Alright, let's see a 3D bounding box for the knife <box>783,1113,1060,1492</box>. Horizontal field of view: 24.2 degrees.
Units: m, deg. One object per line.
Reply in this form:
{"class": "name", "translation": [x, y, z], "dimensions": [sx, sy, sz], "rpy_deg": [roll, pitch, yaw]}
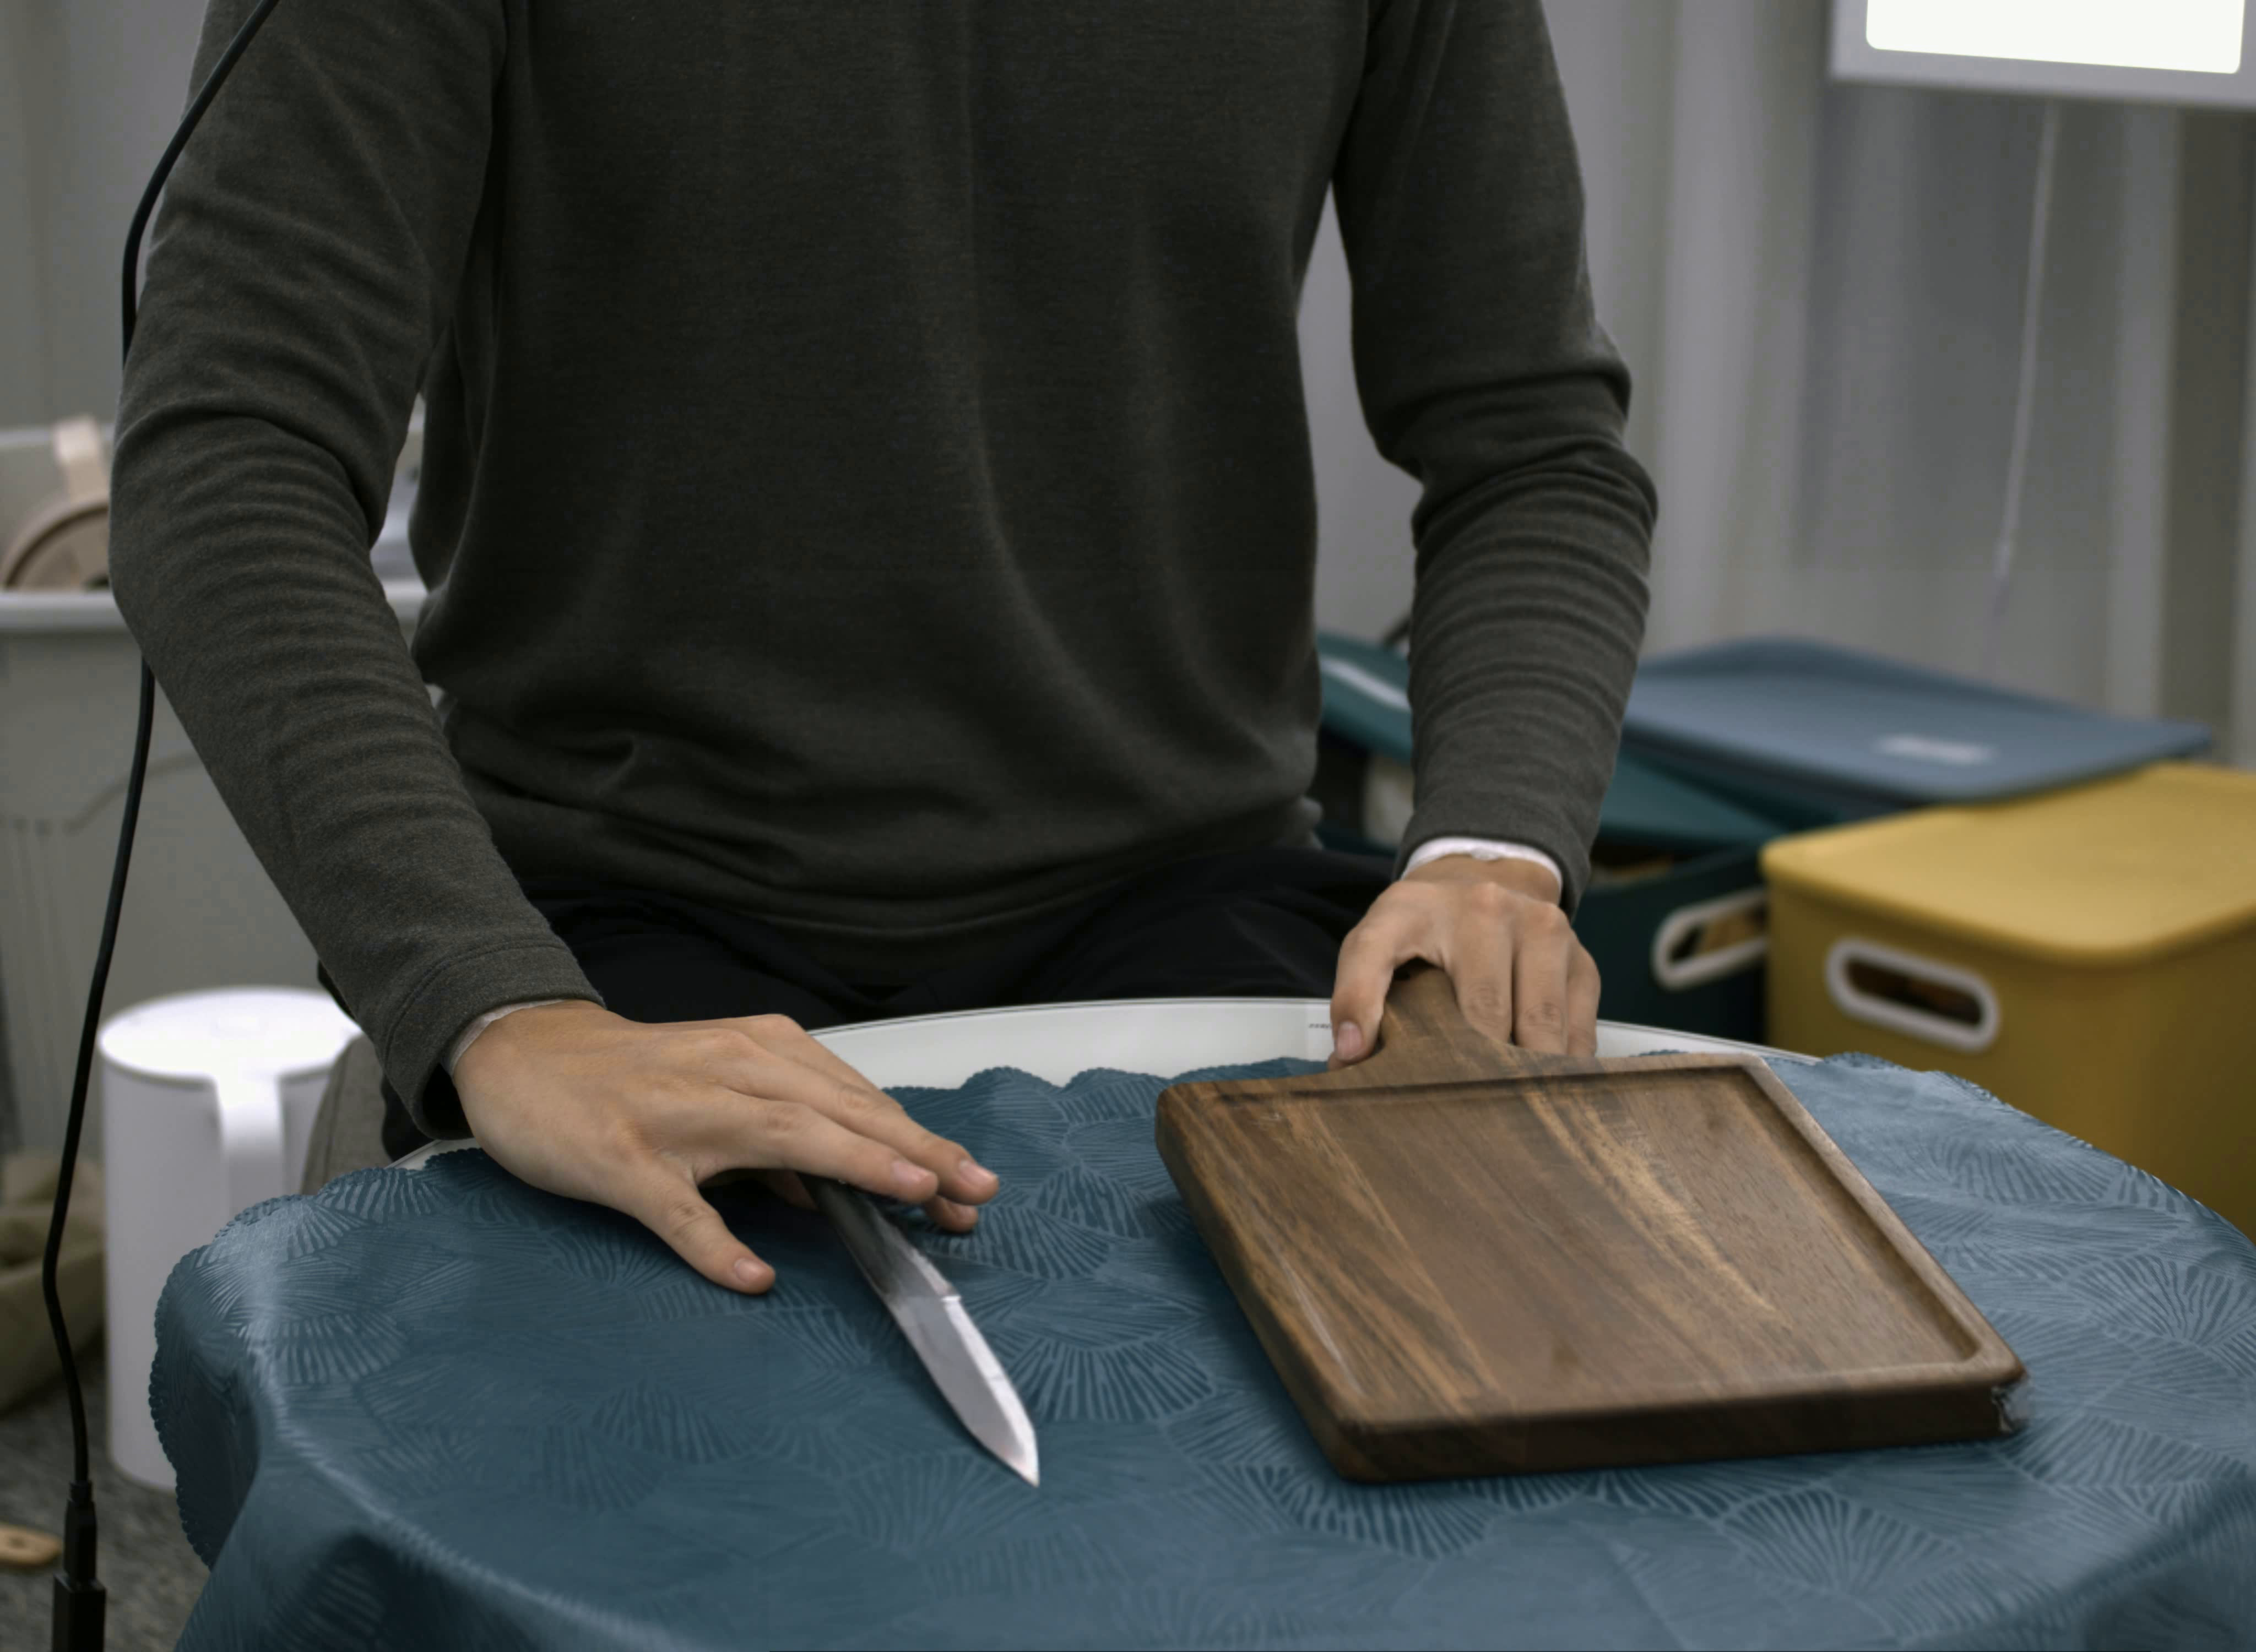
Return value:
{"class": "knife", "translation": [-0.061, 0.134, 1.496], "dimensions": [0.024, 0.016, 0.235], "rpy_deg": [-6, 23, -19]}

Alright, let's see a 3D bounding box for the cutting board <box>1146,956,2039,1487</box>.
{"class": "cutting board", "translation": [0.117, 0.107, 1.571], "dimensions": [0.201, 0.023, 0.348], "rpy_deg": [-3, 19, -12]}
